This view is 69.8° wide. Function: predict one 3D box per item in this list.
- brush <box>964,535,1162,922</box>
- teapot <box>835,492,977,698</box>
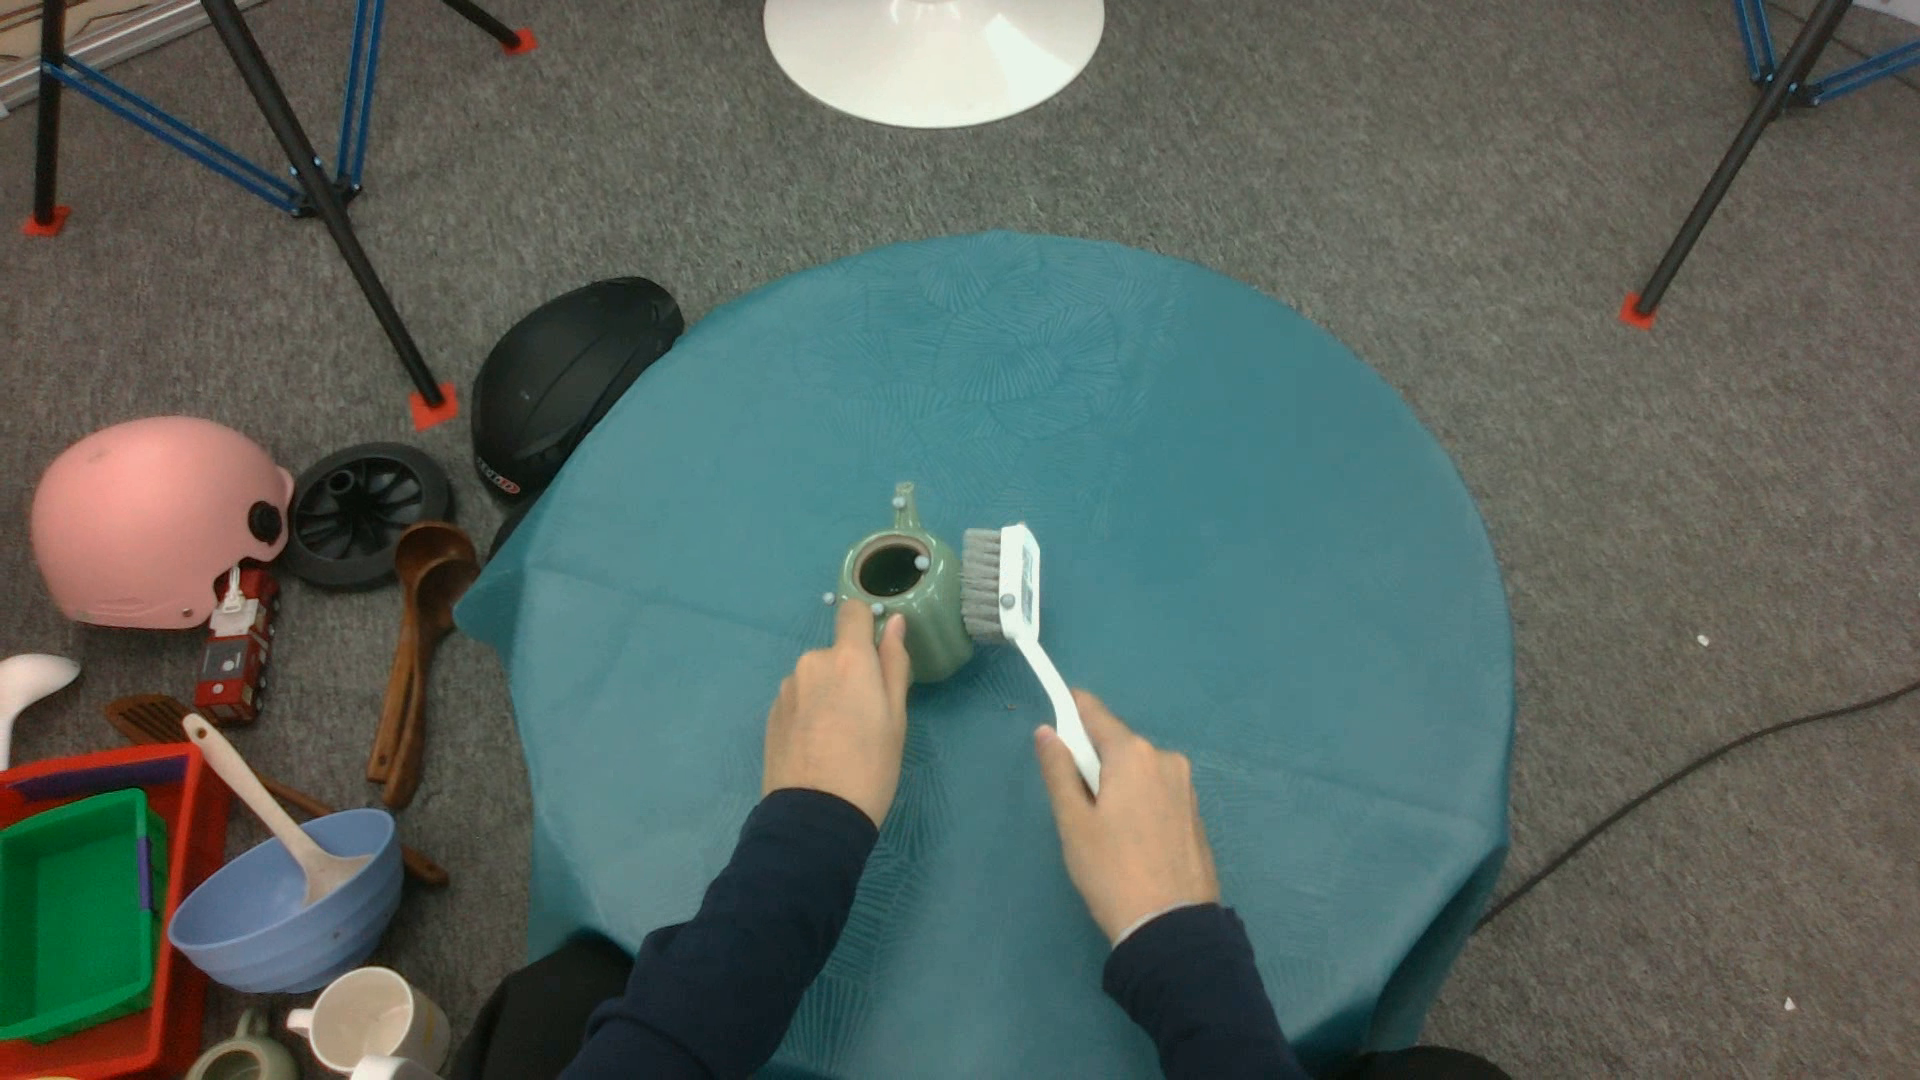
[{"bbox_3d":[0.047,0.098,0.749,0.050,0.034,0.244,-23,57,8],"label":"brush"},{"bbox_3d":[-0.034,0.041,0.798,0.079,0.075,0.133,-5,49,14],"label":"teapot"}]
